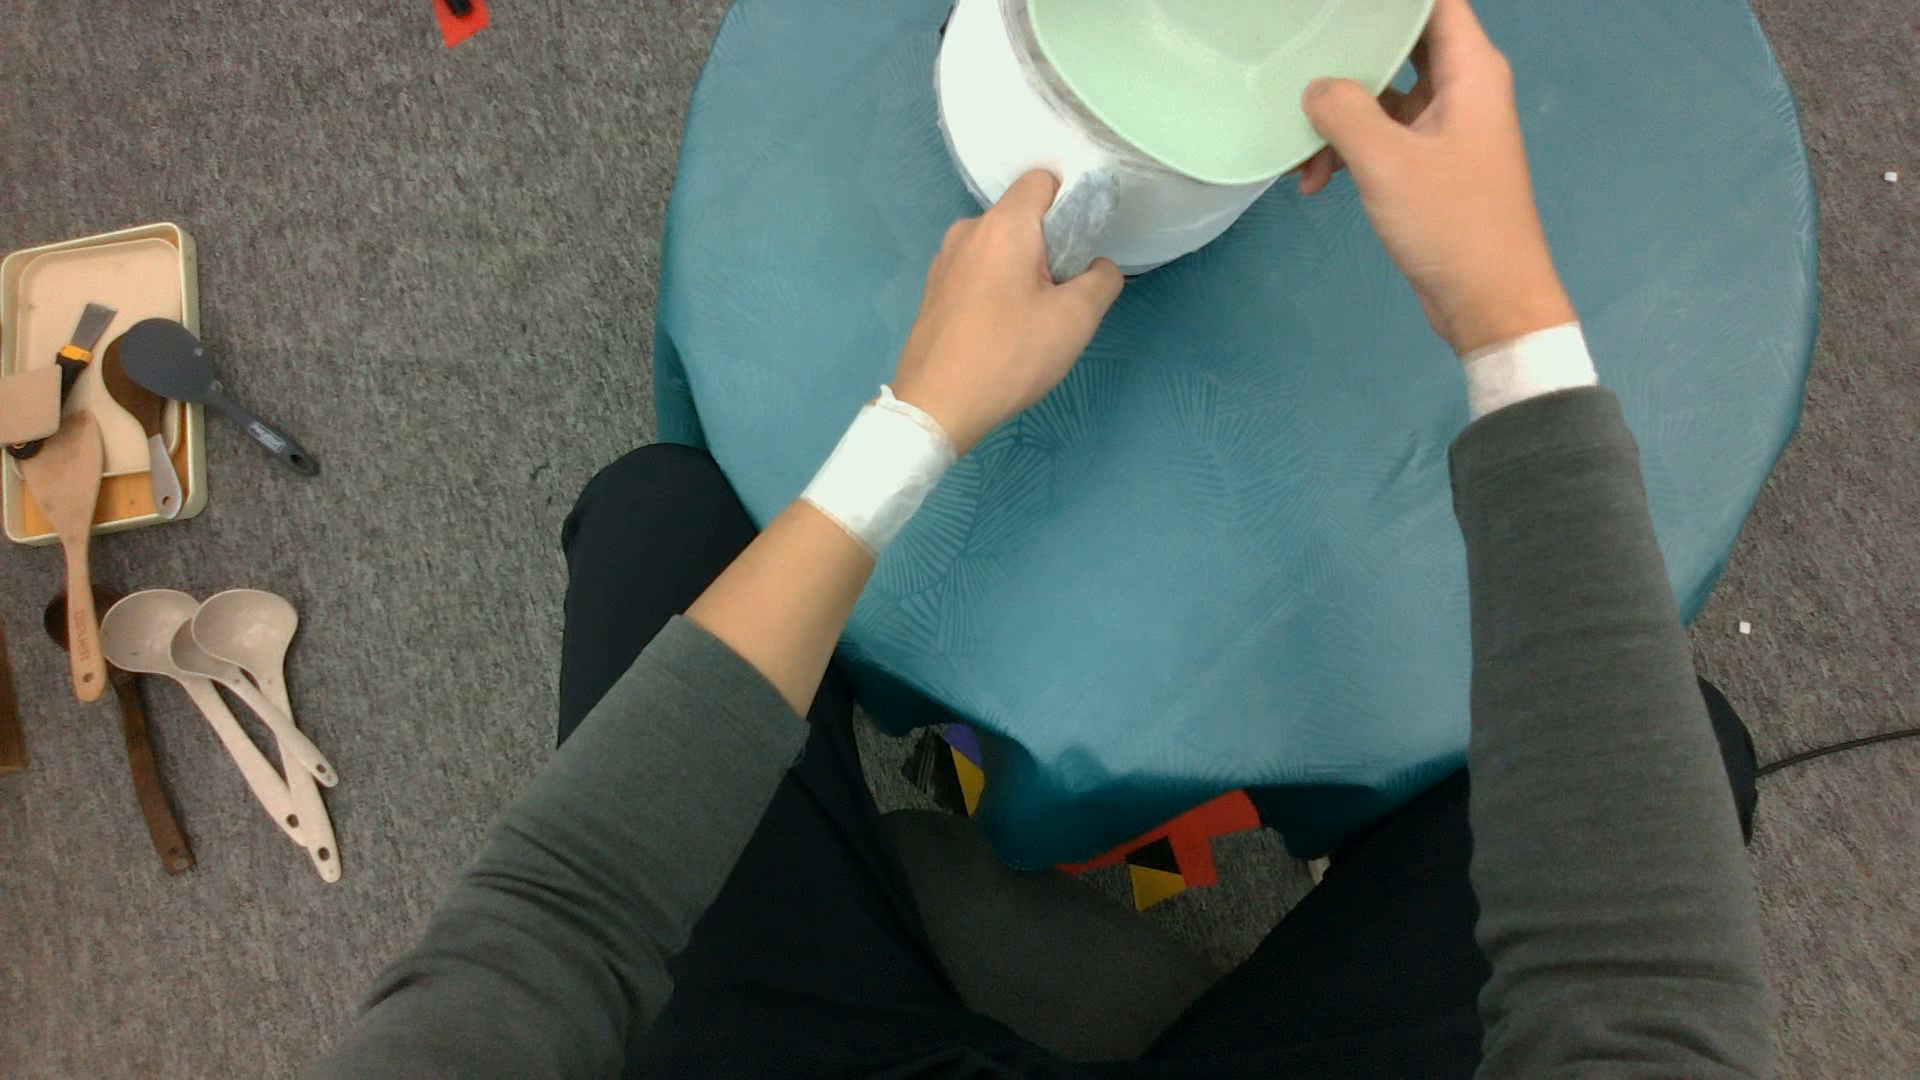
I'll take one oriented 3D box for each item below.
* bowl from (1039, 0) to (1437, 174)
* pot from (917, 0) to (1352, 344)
[{"bbox_3d":[0.108,-0.224,0.531,0.151,0.059,0.151,8,120,14],"label":"bowl"},{"bbox_3d":[0.066,-0.207,0.652,0.179,0.136,0.234,25,75,-10],"label":"pot"}]
